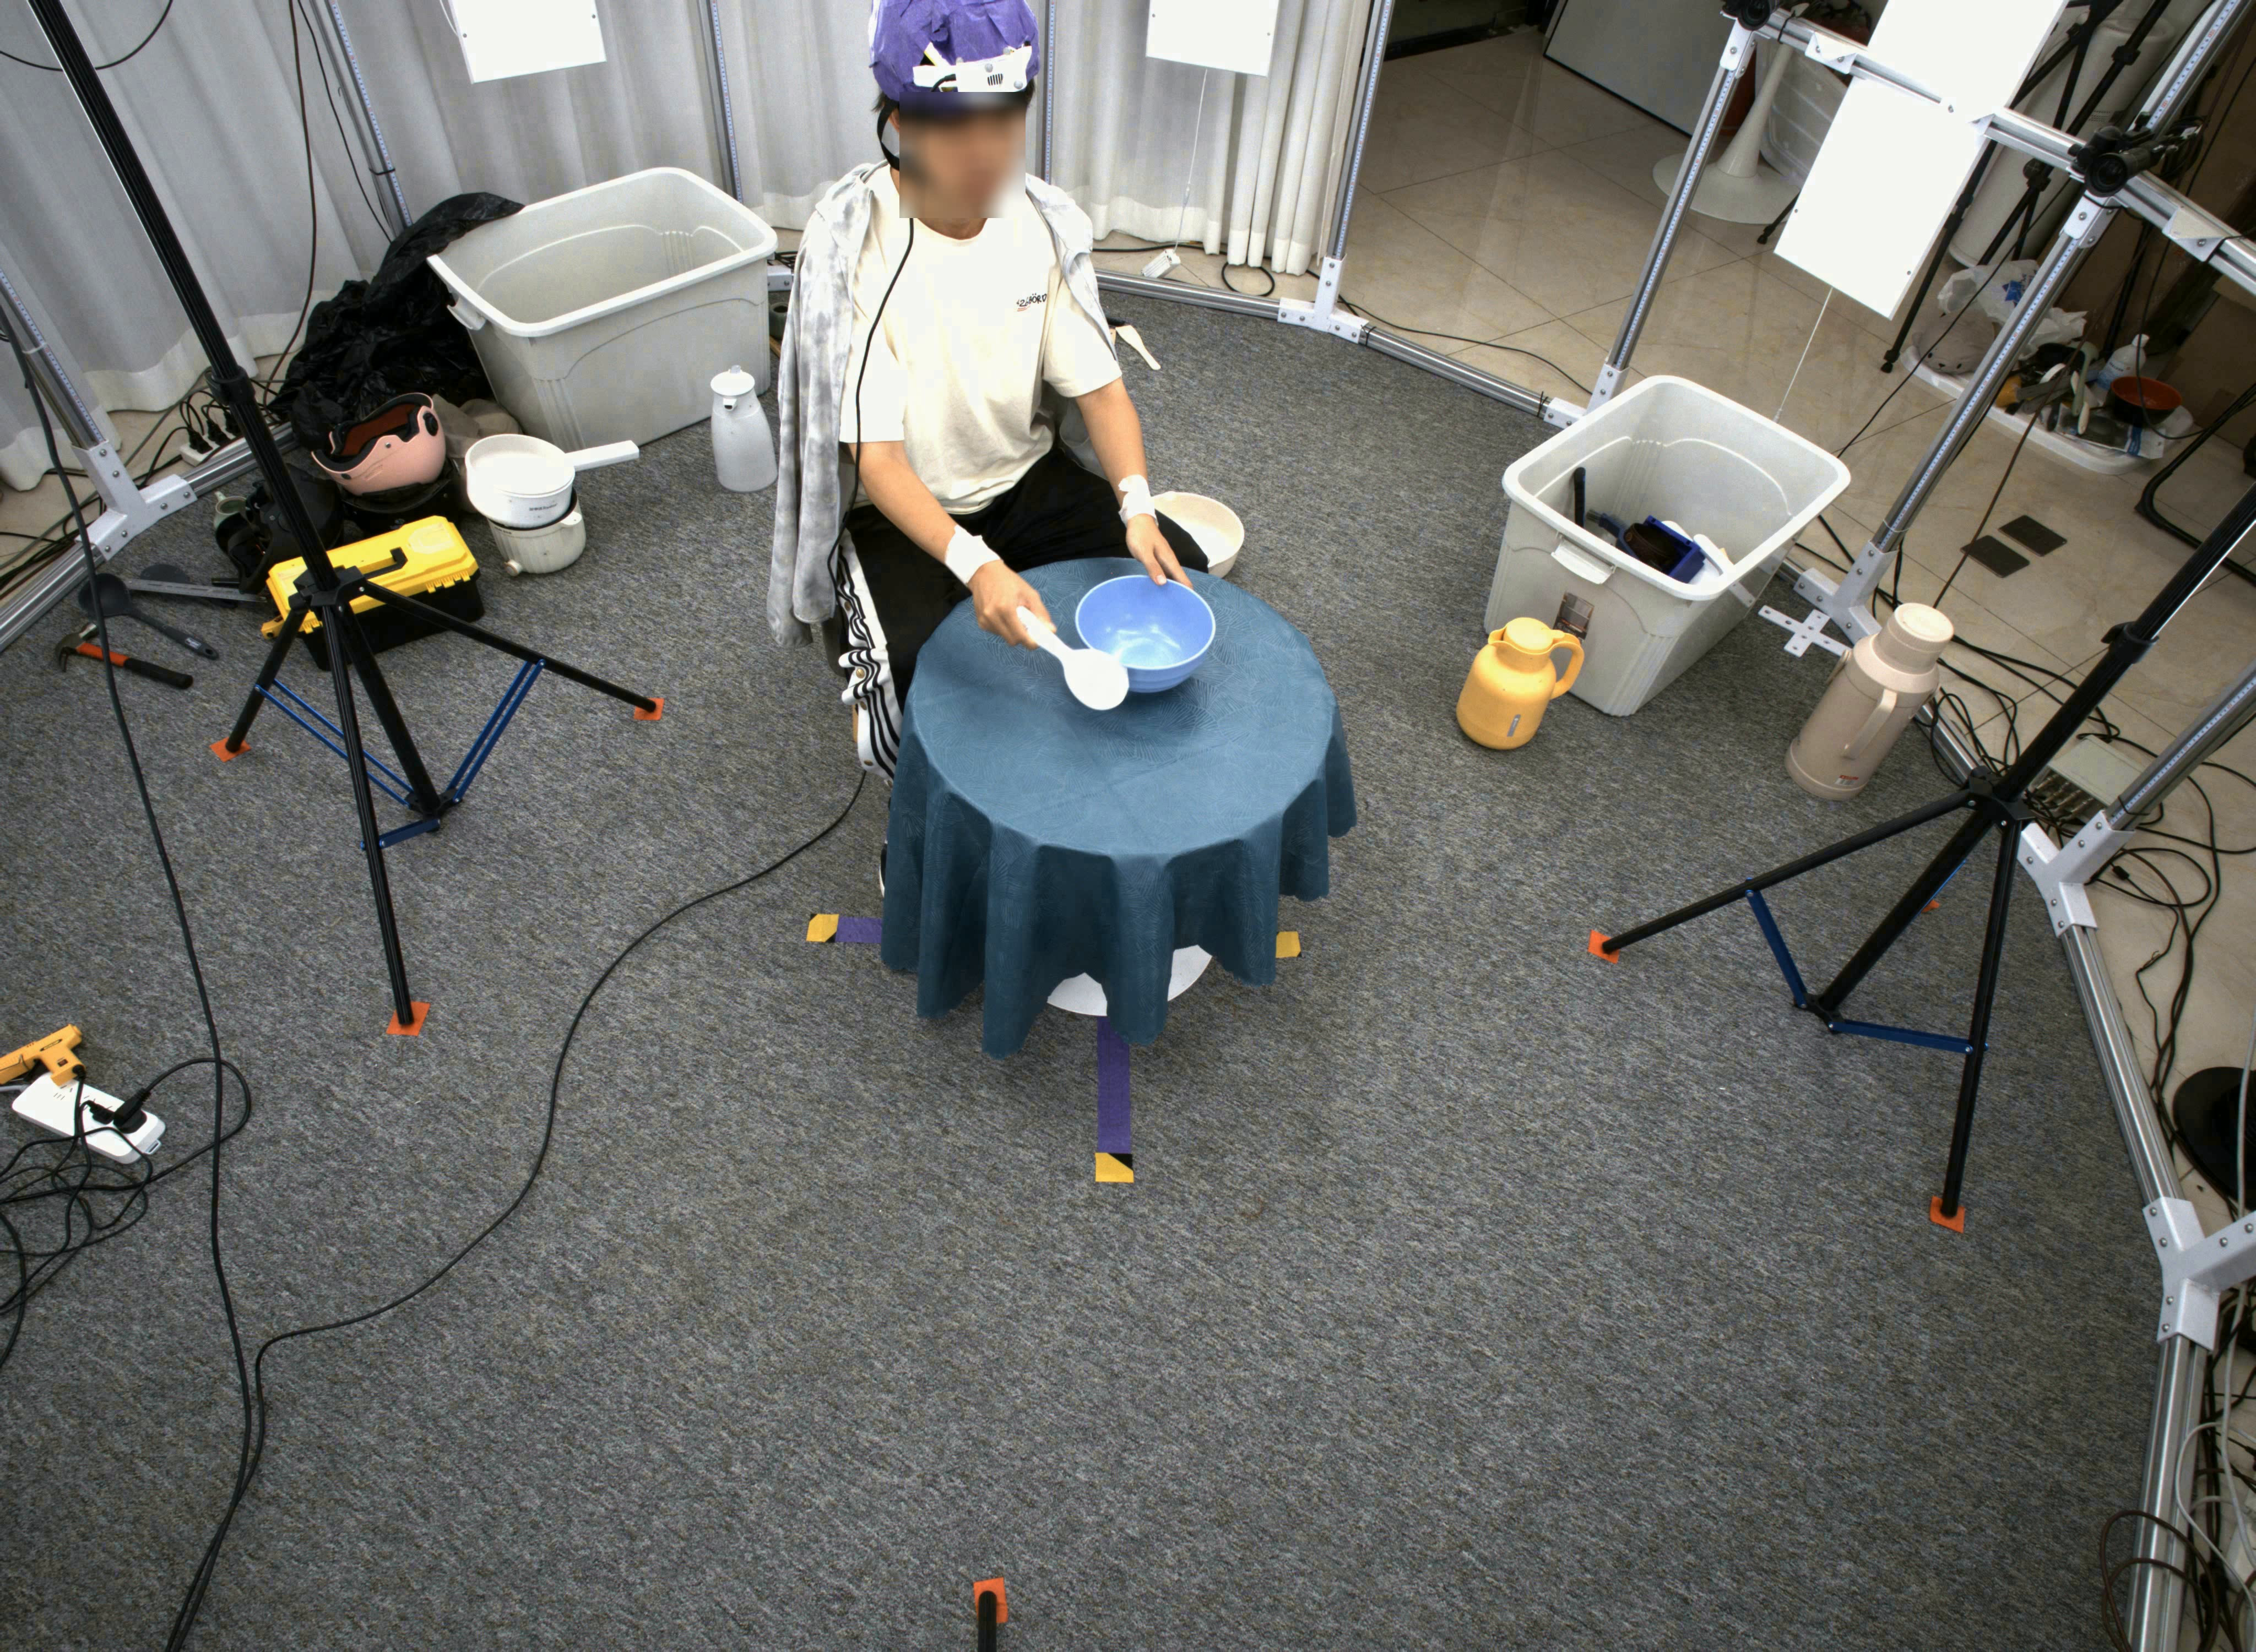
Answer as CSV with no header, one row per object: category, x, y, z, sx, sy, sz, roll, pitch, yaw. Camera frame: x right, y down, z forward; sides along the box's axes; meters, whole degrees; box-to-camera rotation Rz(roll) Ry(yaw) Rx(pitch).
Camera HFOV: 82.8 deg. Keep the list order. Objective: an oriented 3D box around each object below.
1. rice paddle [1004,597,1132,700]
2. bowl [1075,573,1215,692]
rice paddle,-0.079,-0.240,1.724,0.207,0.029,0.068,37,92,16
bowl,0.022,-0.259,1.824,0.196,0.093,0.201,2,51,-2
